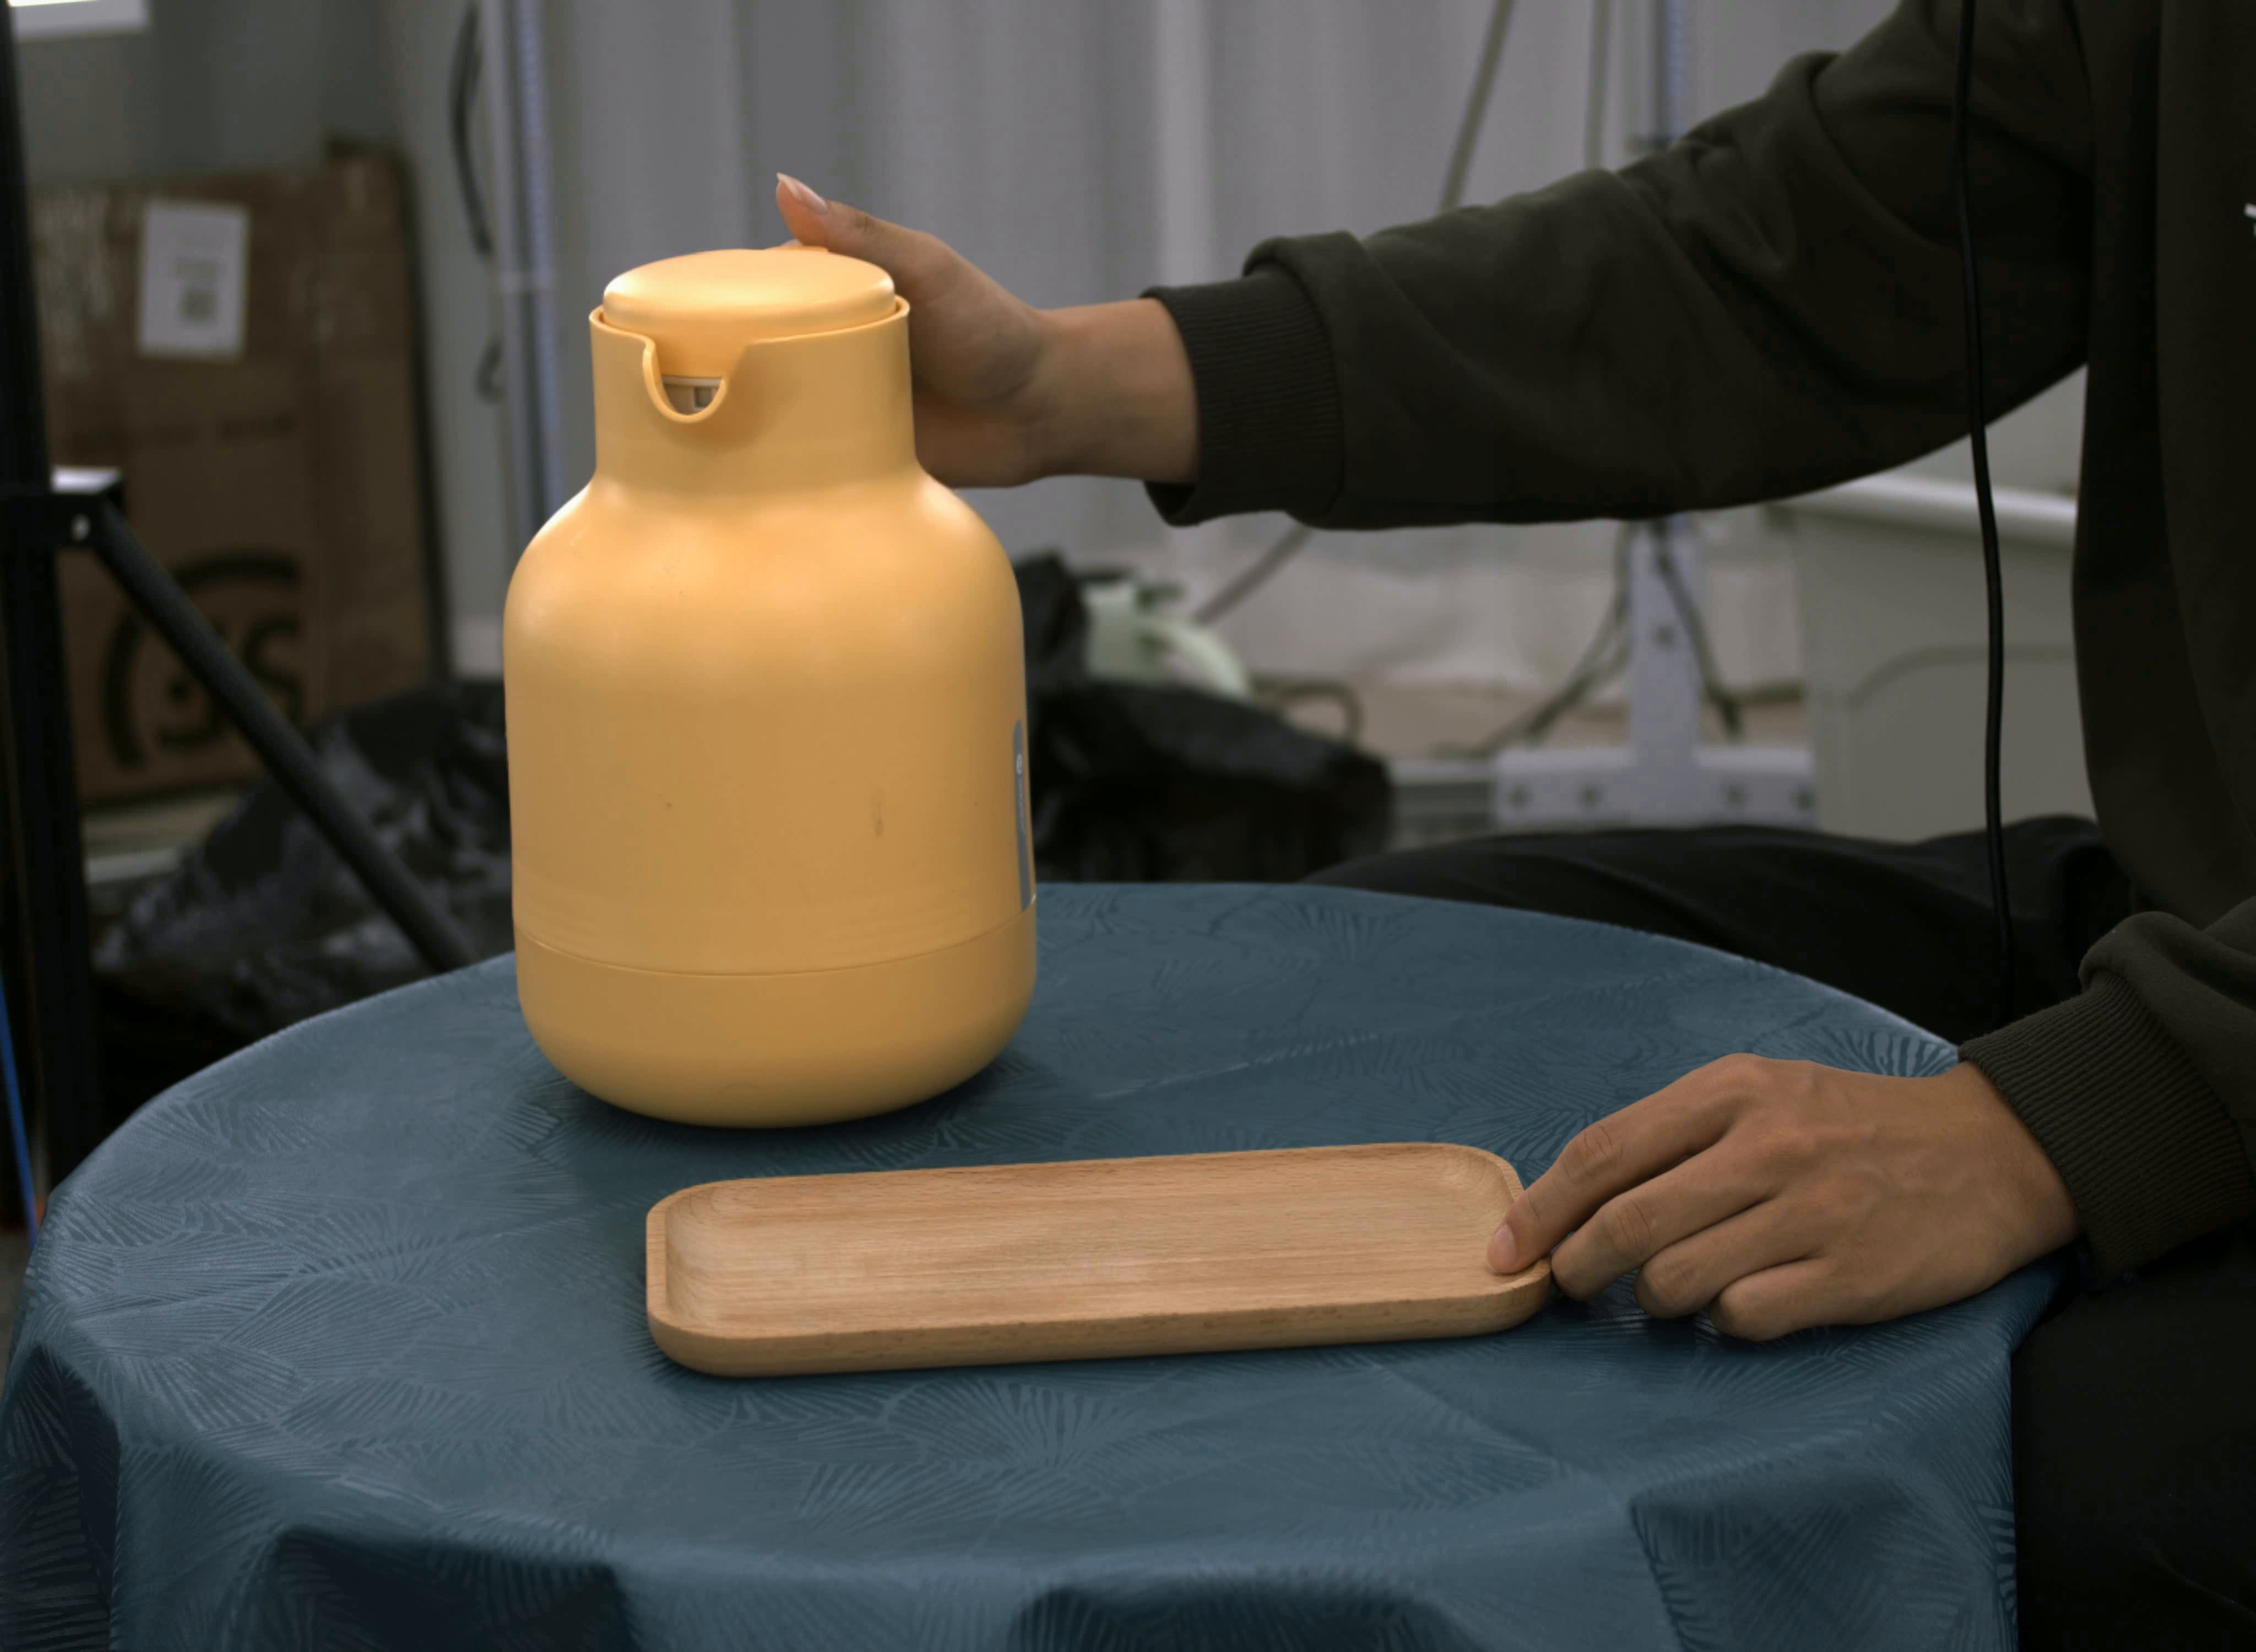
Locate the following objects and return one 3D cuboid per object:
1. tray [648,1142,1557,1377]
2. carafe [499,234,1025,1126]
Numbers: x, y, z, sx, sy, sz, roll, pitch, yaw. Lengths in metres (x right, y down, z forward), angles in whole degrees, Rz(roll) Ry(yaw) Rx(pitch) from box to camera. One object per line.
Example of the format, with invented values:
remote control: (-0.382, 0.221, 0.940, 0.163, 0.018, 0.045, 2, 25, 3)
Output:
tray: (-0.009, 0.121, 1.486, 0.249, 0.023, 0.131, -2, 18, -1)
carafe: (-0.108, -0.053, 1.665, 0.164, 0.260, 0.201, 5, 18, 14)
